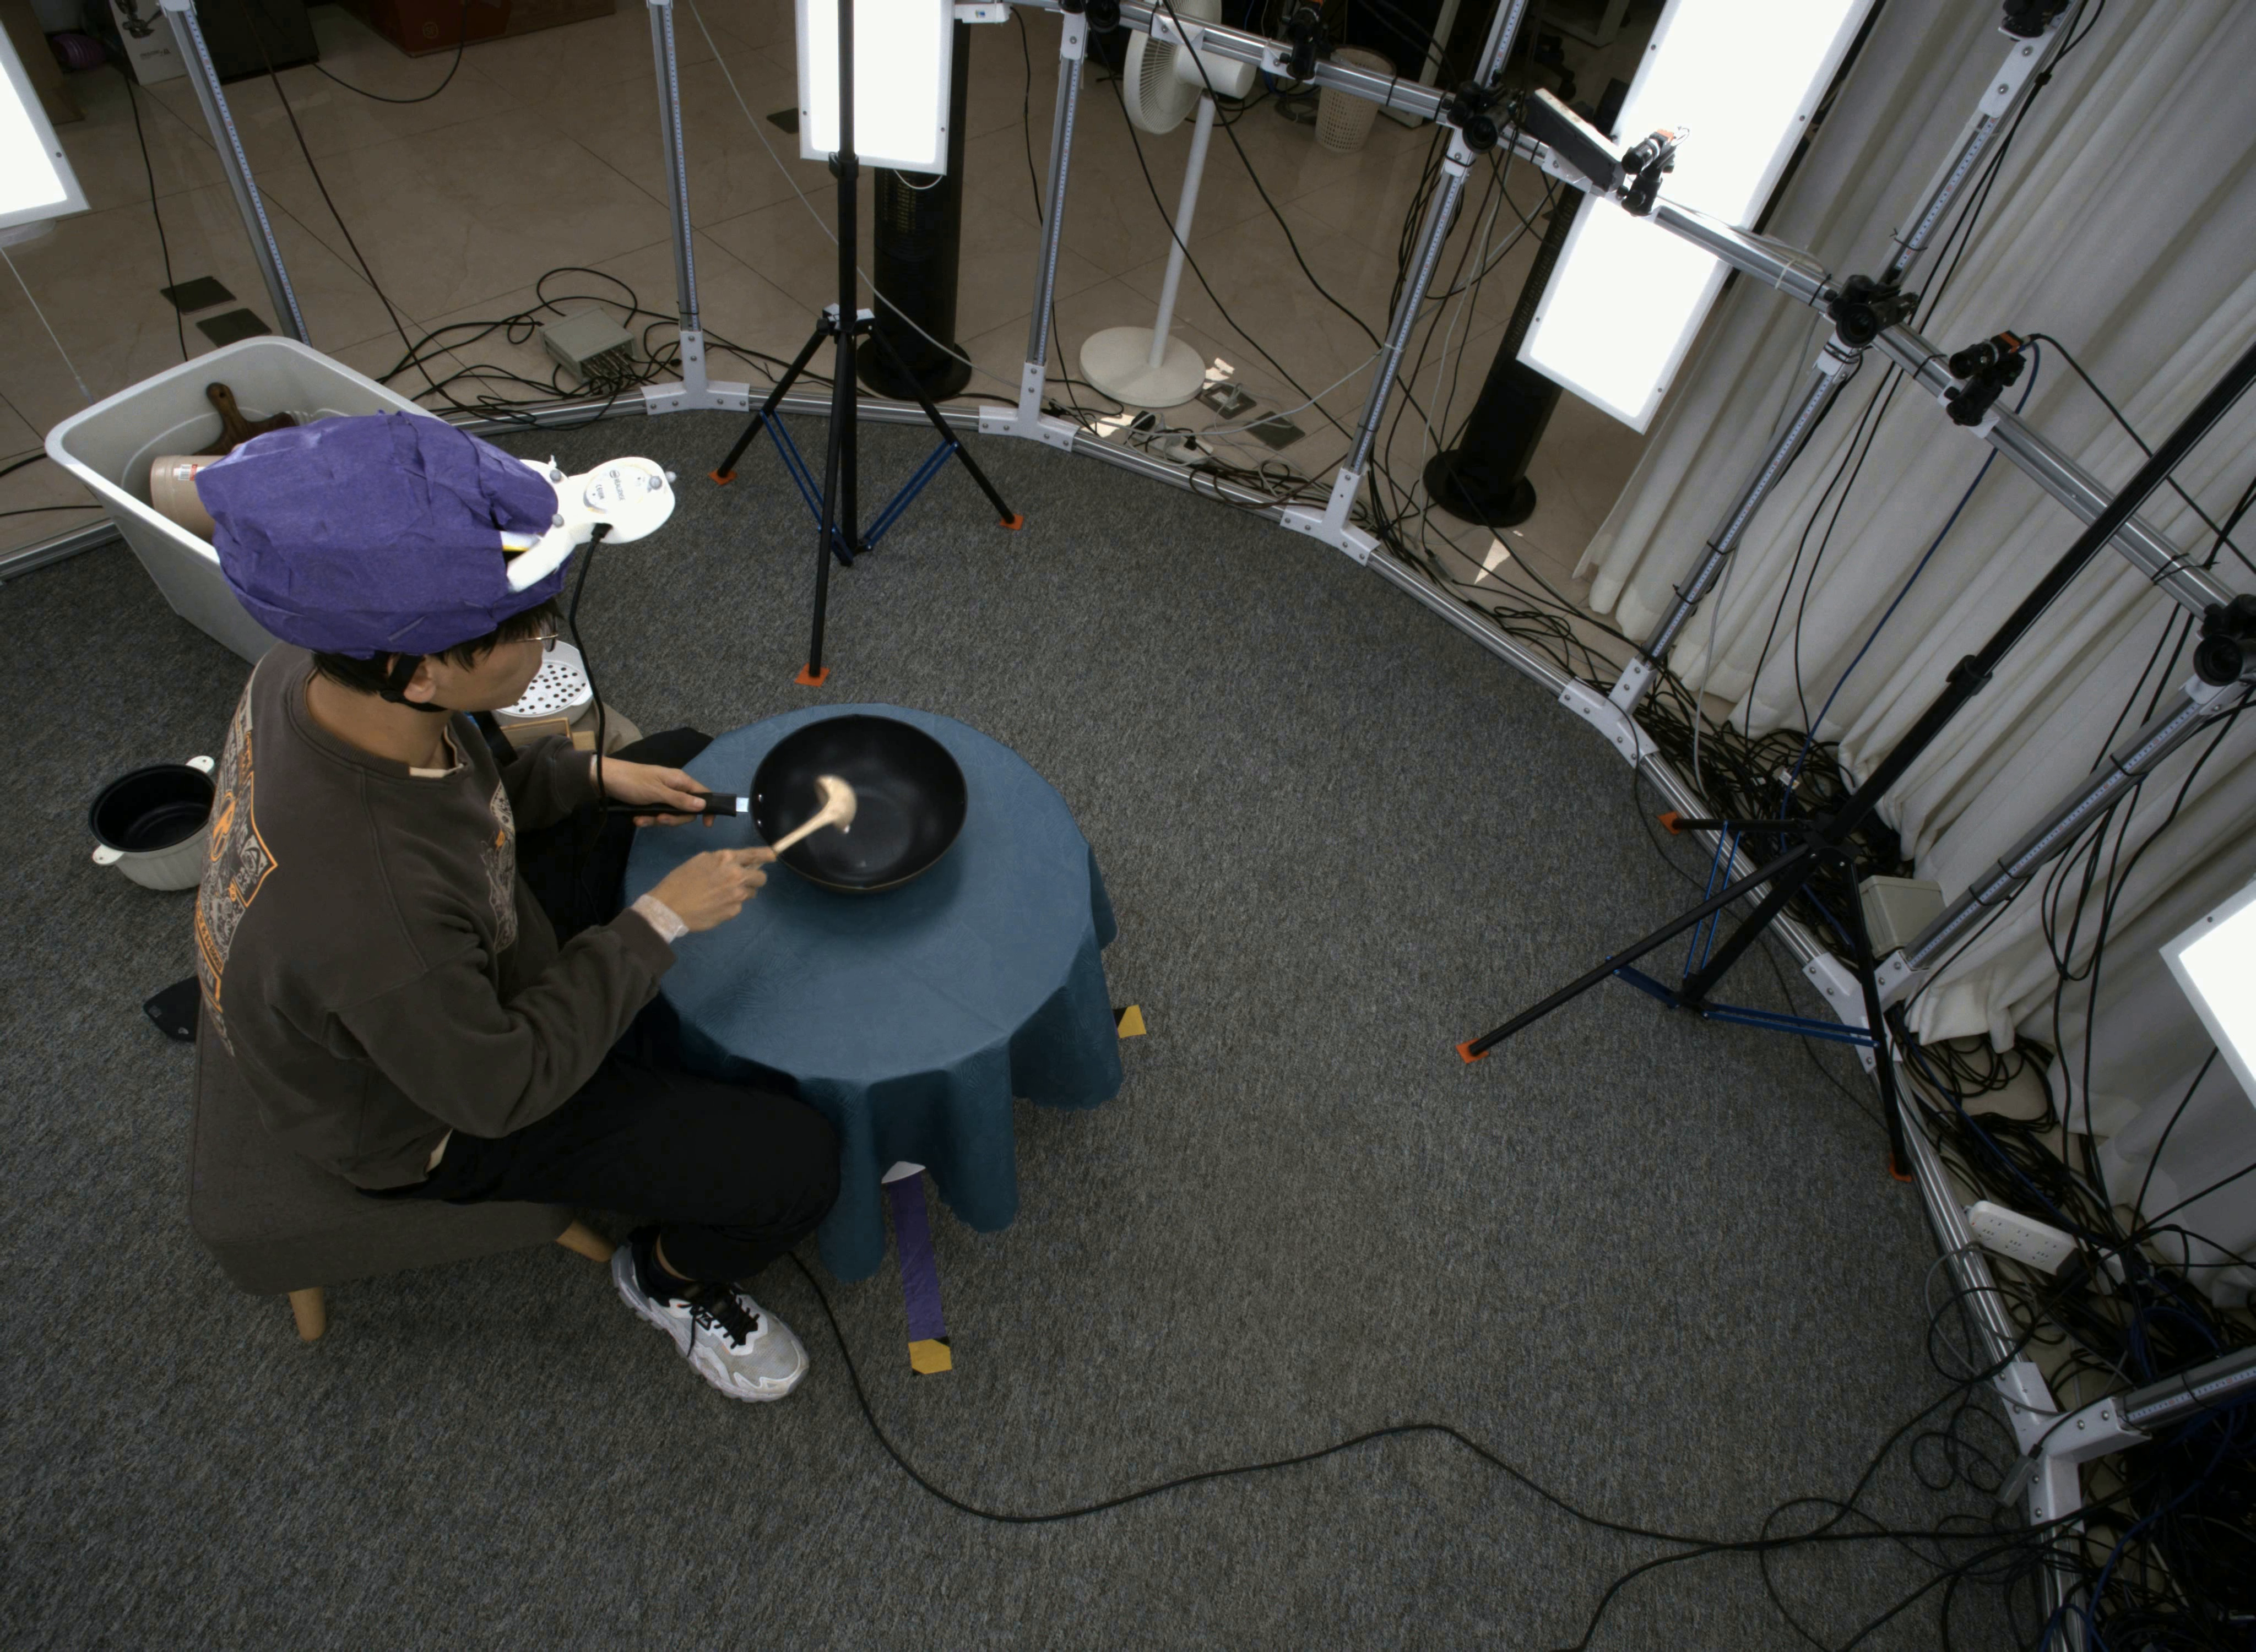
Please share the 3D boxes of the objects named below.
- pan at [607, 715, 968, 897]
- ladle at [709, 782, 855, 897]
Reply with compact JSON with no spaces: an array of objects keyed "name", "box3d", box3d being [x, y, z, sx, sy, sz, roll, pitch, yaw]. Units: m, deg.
[{"name":"pan","box3d":[-0.439,-0.010,1.690,0.463,0.089,0.282,-3,55,-13]},{"name":"ladle","box3d":[-0.436,0.020,1.585,0.070,0.074,0.255,0,25,37]}]
